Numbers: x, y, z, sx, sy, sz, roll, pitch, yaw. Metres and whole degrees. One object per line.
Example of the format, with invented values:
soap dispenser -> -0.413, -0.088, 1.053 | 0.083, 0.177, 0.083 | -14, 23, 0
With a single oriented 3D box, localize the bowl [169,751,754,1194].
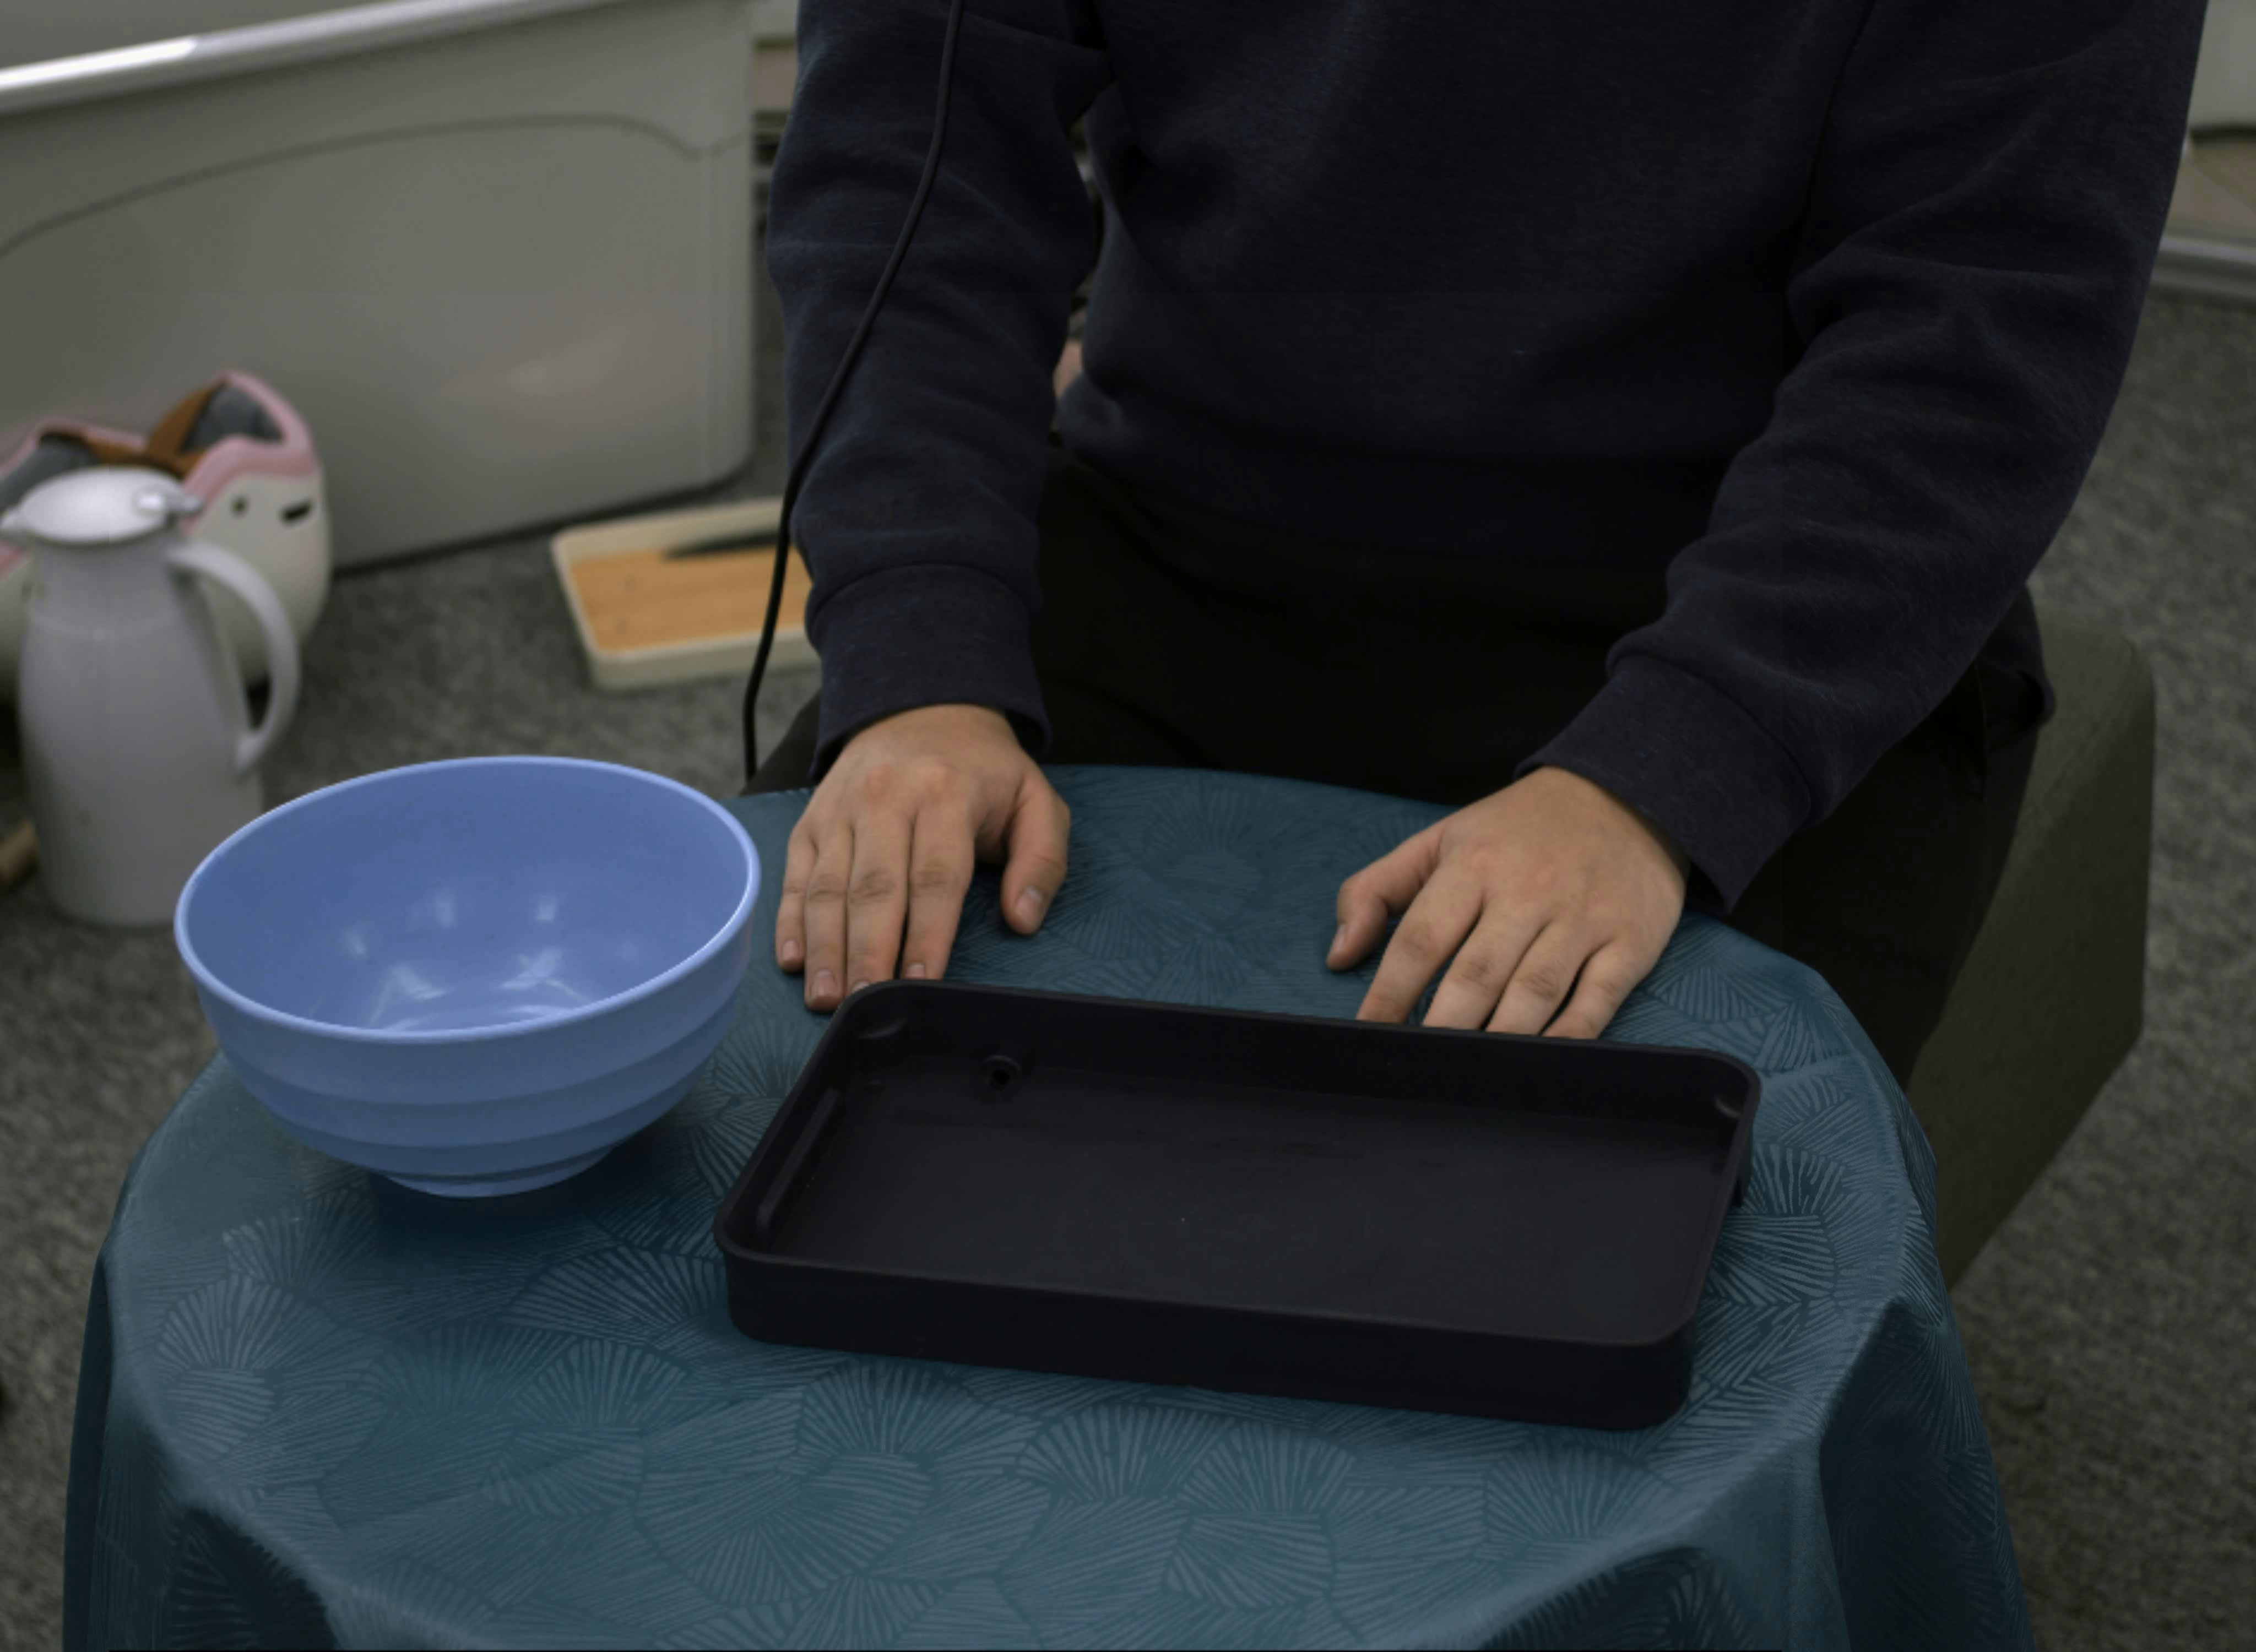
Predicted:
bowl -> -0.218, 0.061, 1.896 | 0.195, 0.094, 0.199 | -4, 27, 2

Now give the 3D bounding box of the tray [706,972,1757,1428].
tray -> 0.036, 0.118, 1.827 | 0.316, 0.036, 0.187 | 5, 28, 13
